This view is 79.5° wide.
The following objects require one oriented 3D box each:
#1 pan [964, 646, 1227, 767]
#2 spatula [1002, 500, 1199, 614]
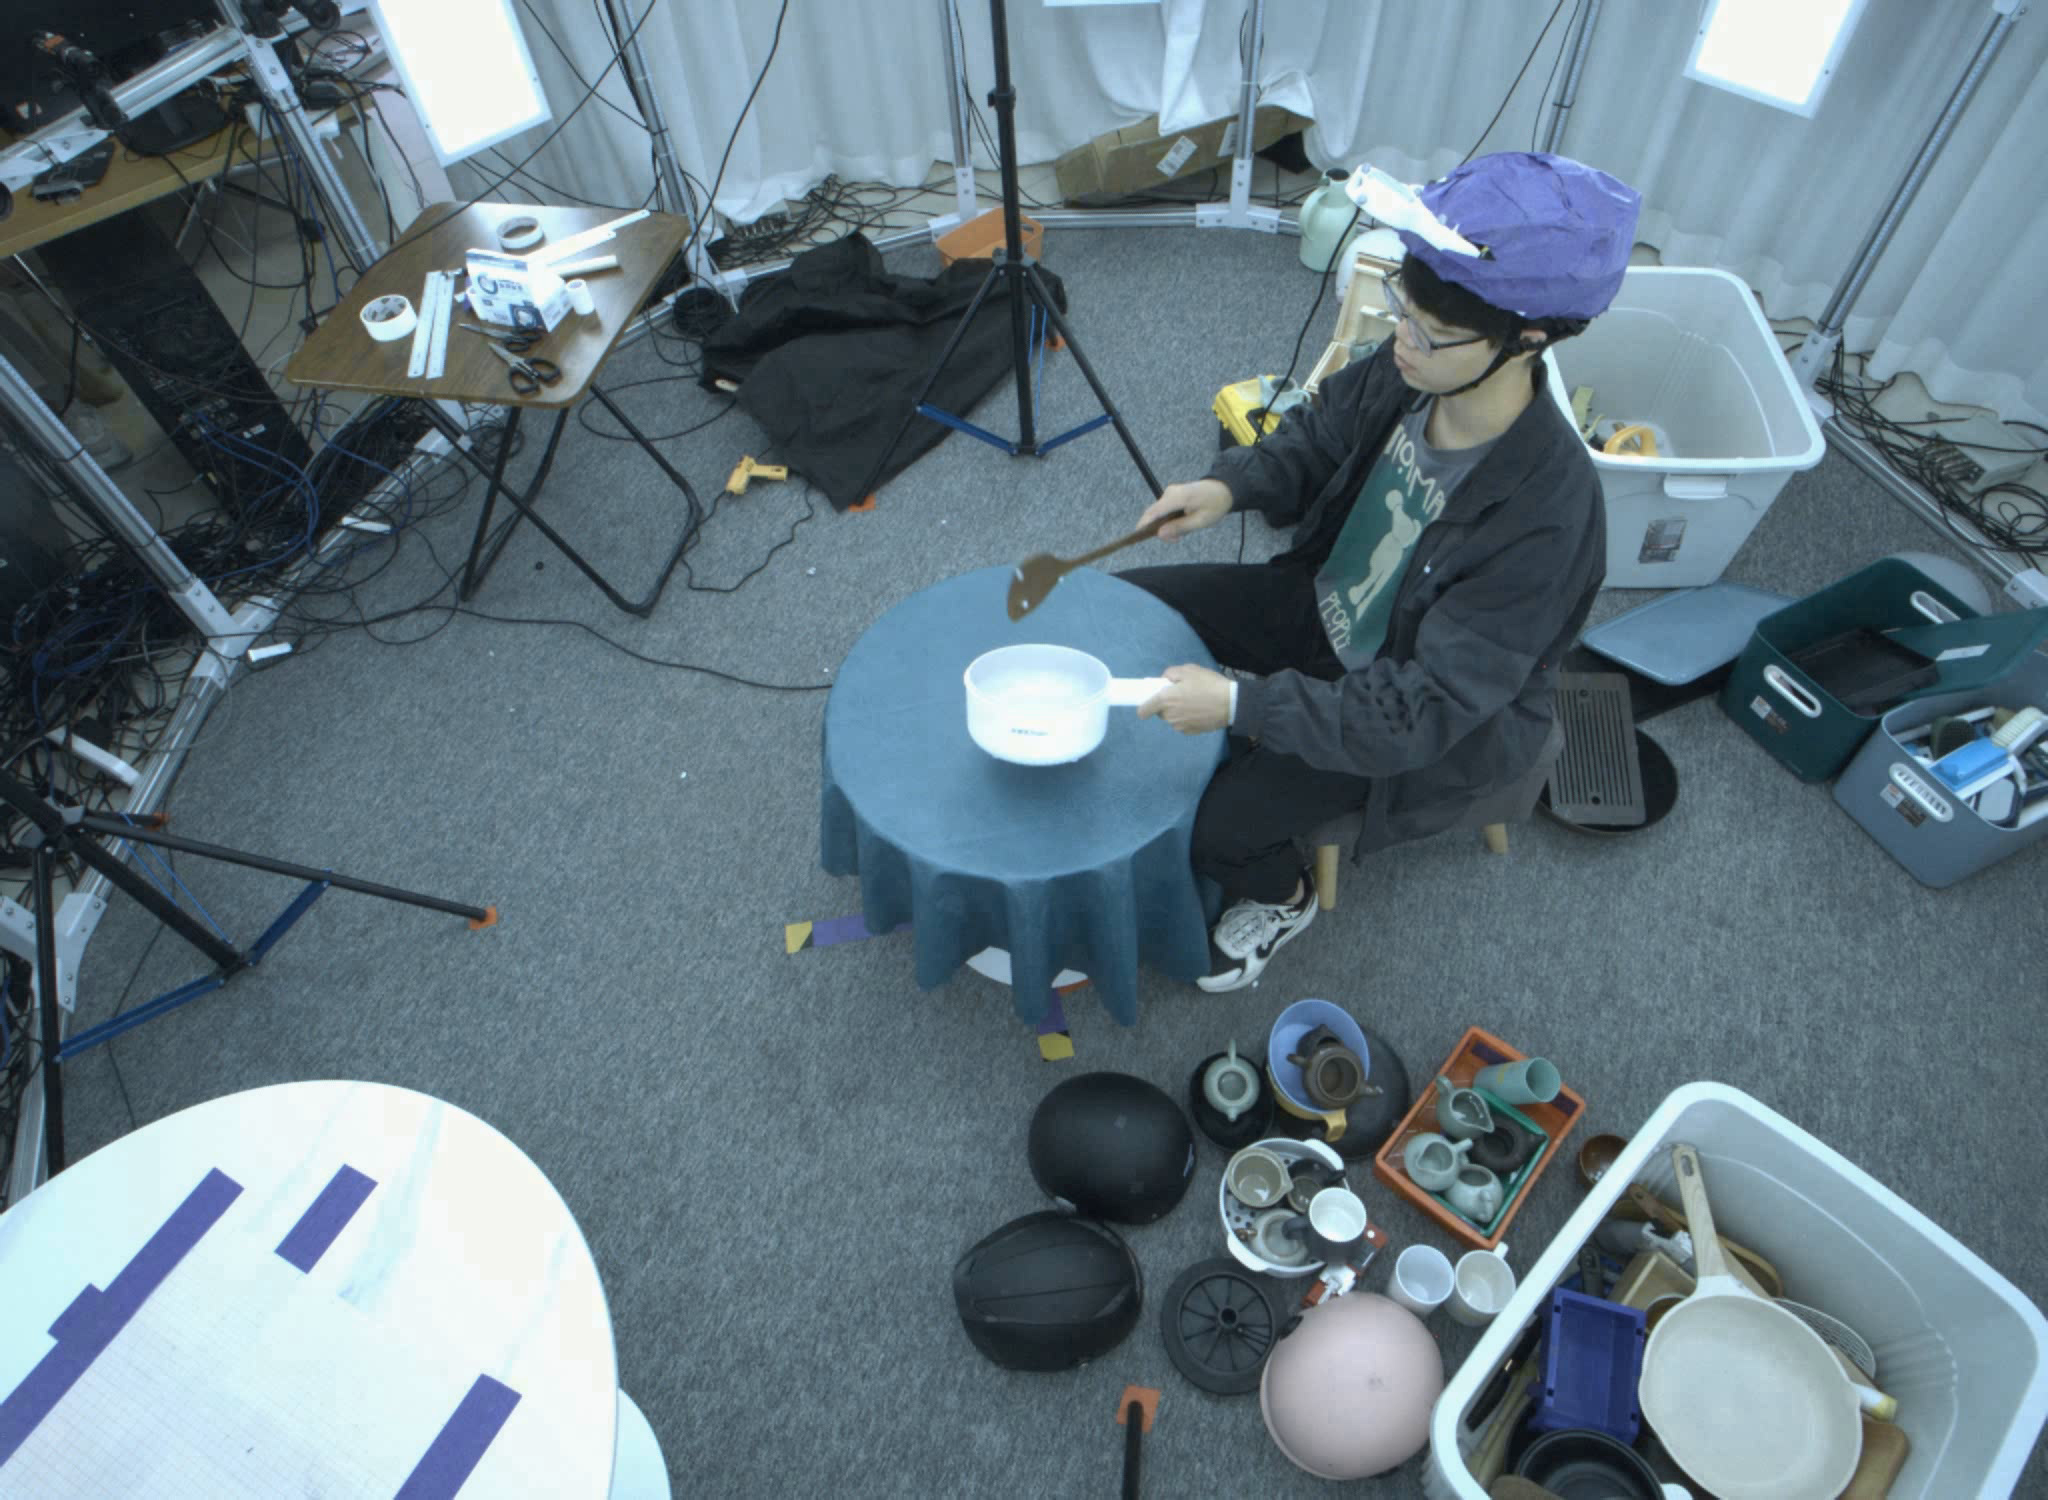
[{"bbox_3d":[0.095,-0.052,1.683,0.355,0.103,0.199,4,29,-1],"label":"pan"},{"bbox_3d":[0.115,-0.287,1.710,0.391,0.097,0.015,-27,48,-33],"label":"spatula"}]
